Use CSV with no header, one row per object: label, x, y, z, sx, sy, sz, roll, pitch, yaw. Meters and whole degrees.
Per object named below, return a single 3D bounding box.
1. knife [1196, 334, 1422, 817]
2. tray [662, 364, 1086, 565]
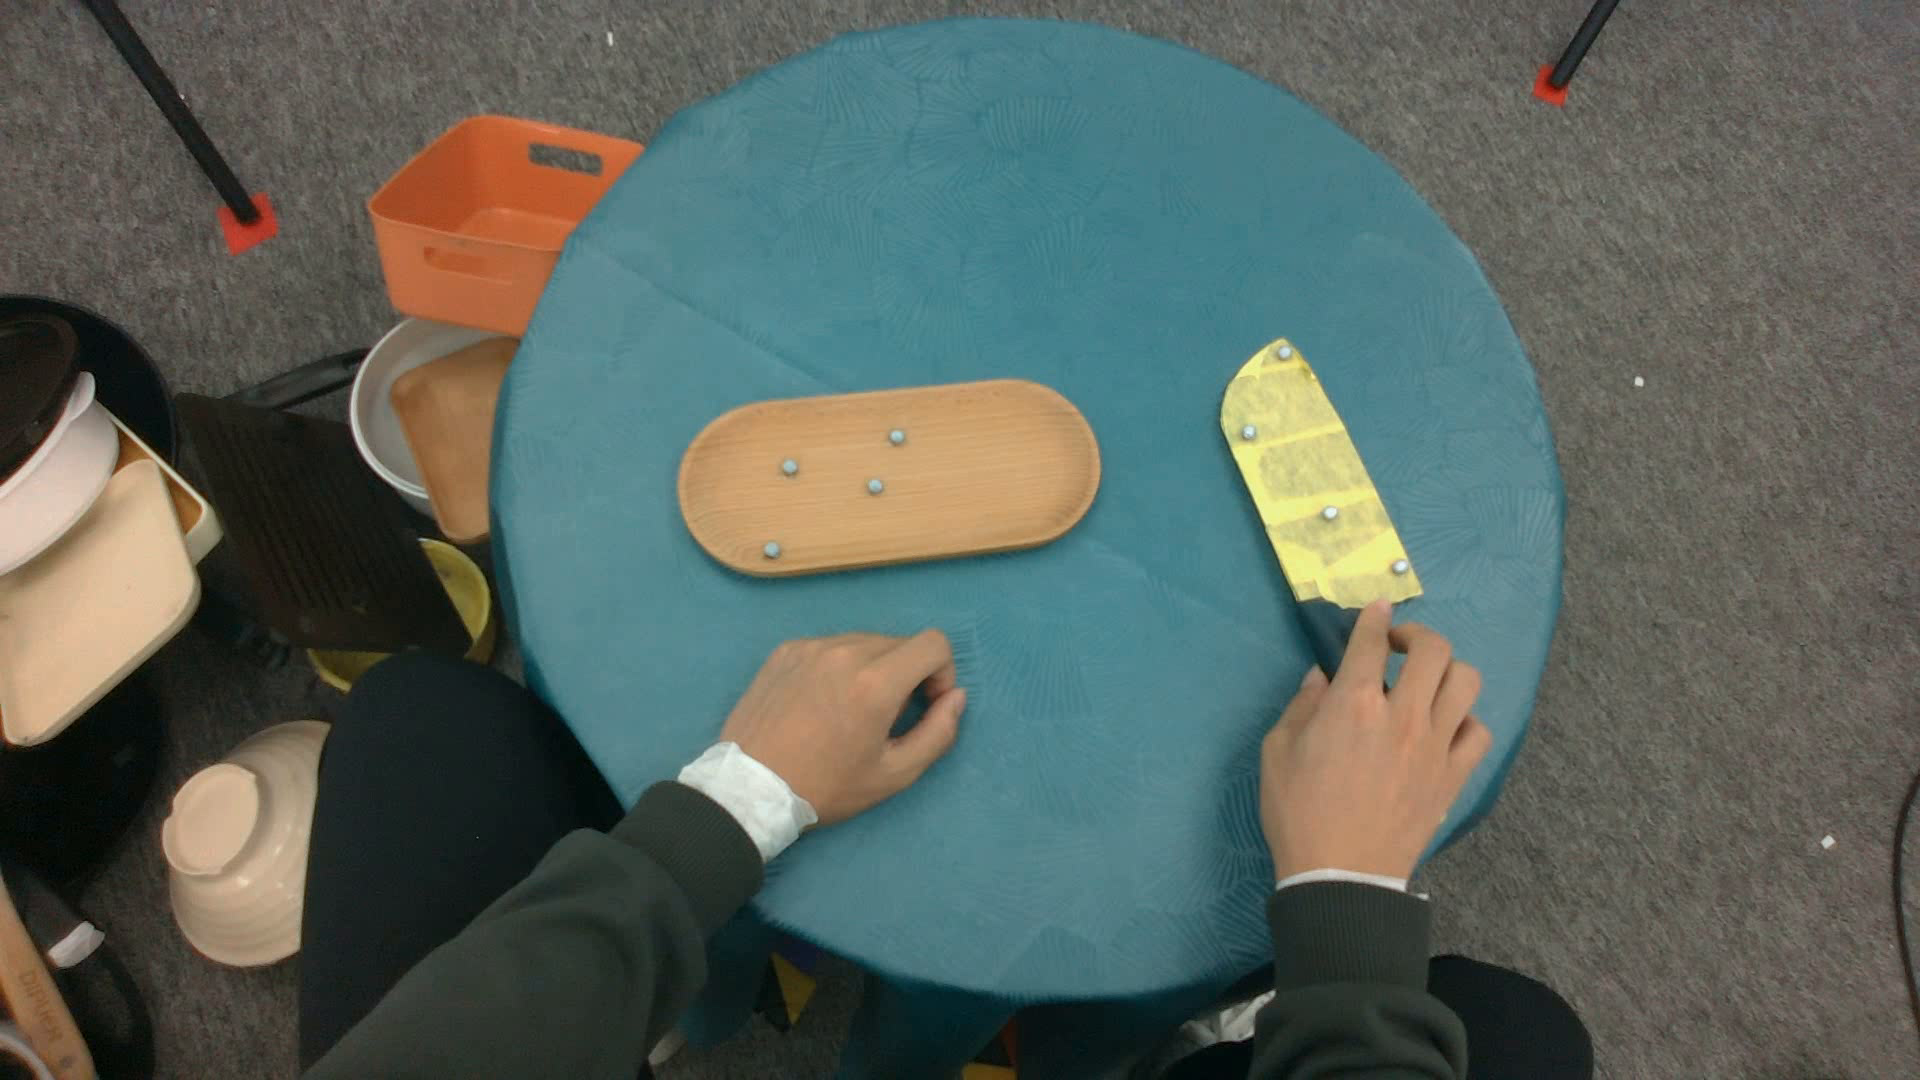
knife,0.201,0.009,0.763,0.081,0.027,0.290,-12,70,-11
tray,-0.045,-0.042,0.753,0.231,0.020,0.102,-7,71,-11
